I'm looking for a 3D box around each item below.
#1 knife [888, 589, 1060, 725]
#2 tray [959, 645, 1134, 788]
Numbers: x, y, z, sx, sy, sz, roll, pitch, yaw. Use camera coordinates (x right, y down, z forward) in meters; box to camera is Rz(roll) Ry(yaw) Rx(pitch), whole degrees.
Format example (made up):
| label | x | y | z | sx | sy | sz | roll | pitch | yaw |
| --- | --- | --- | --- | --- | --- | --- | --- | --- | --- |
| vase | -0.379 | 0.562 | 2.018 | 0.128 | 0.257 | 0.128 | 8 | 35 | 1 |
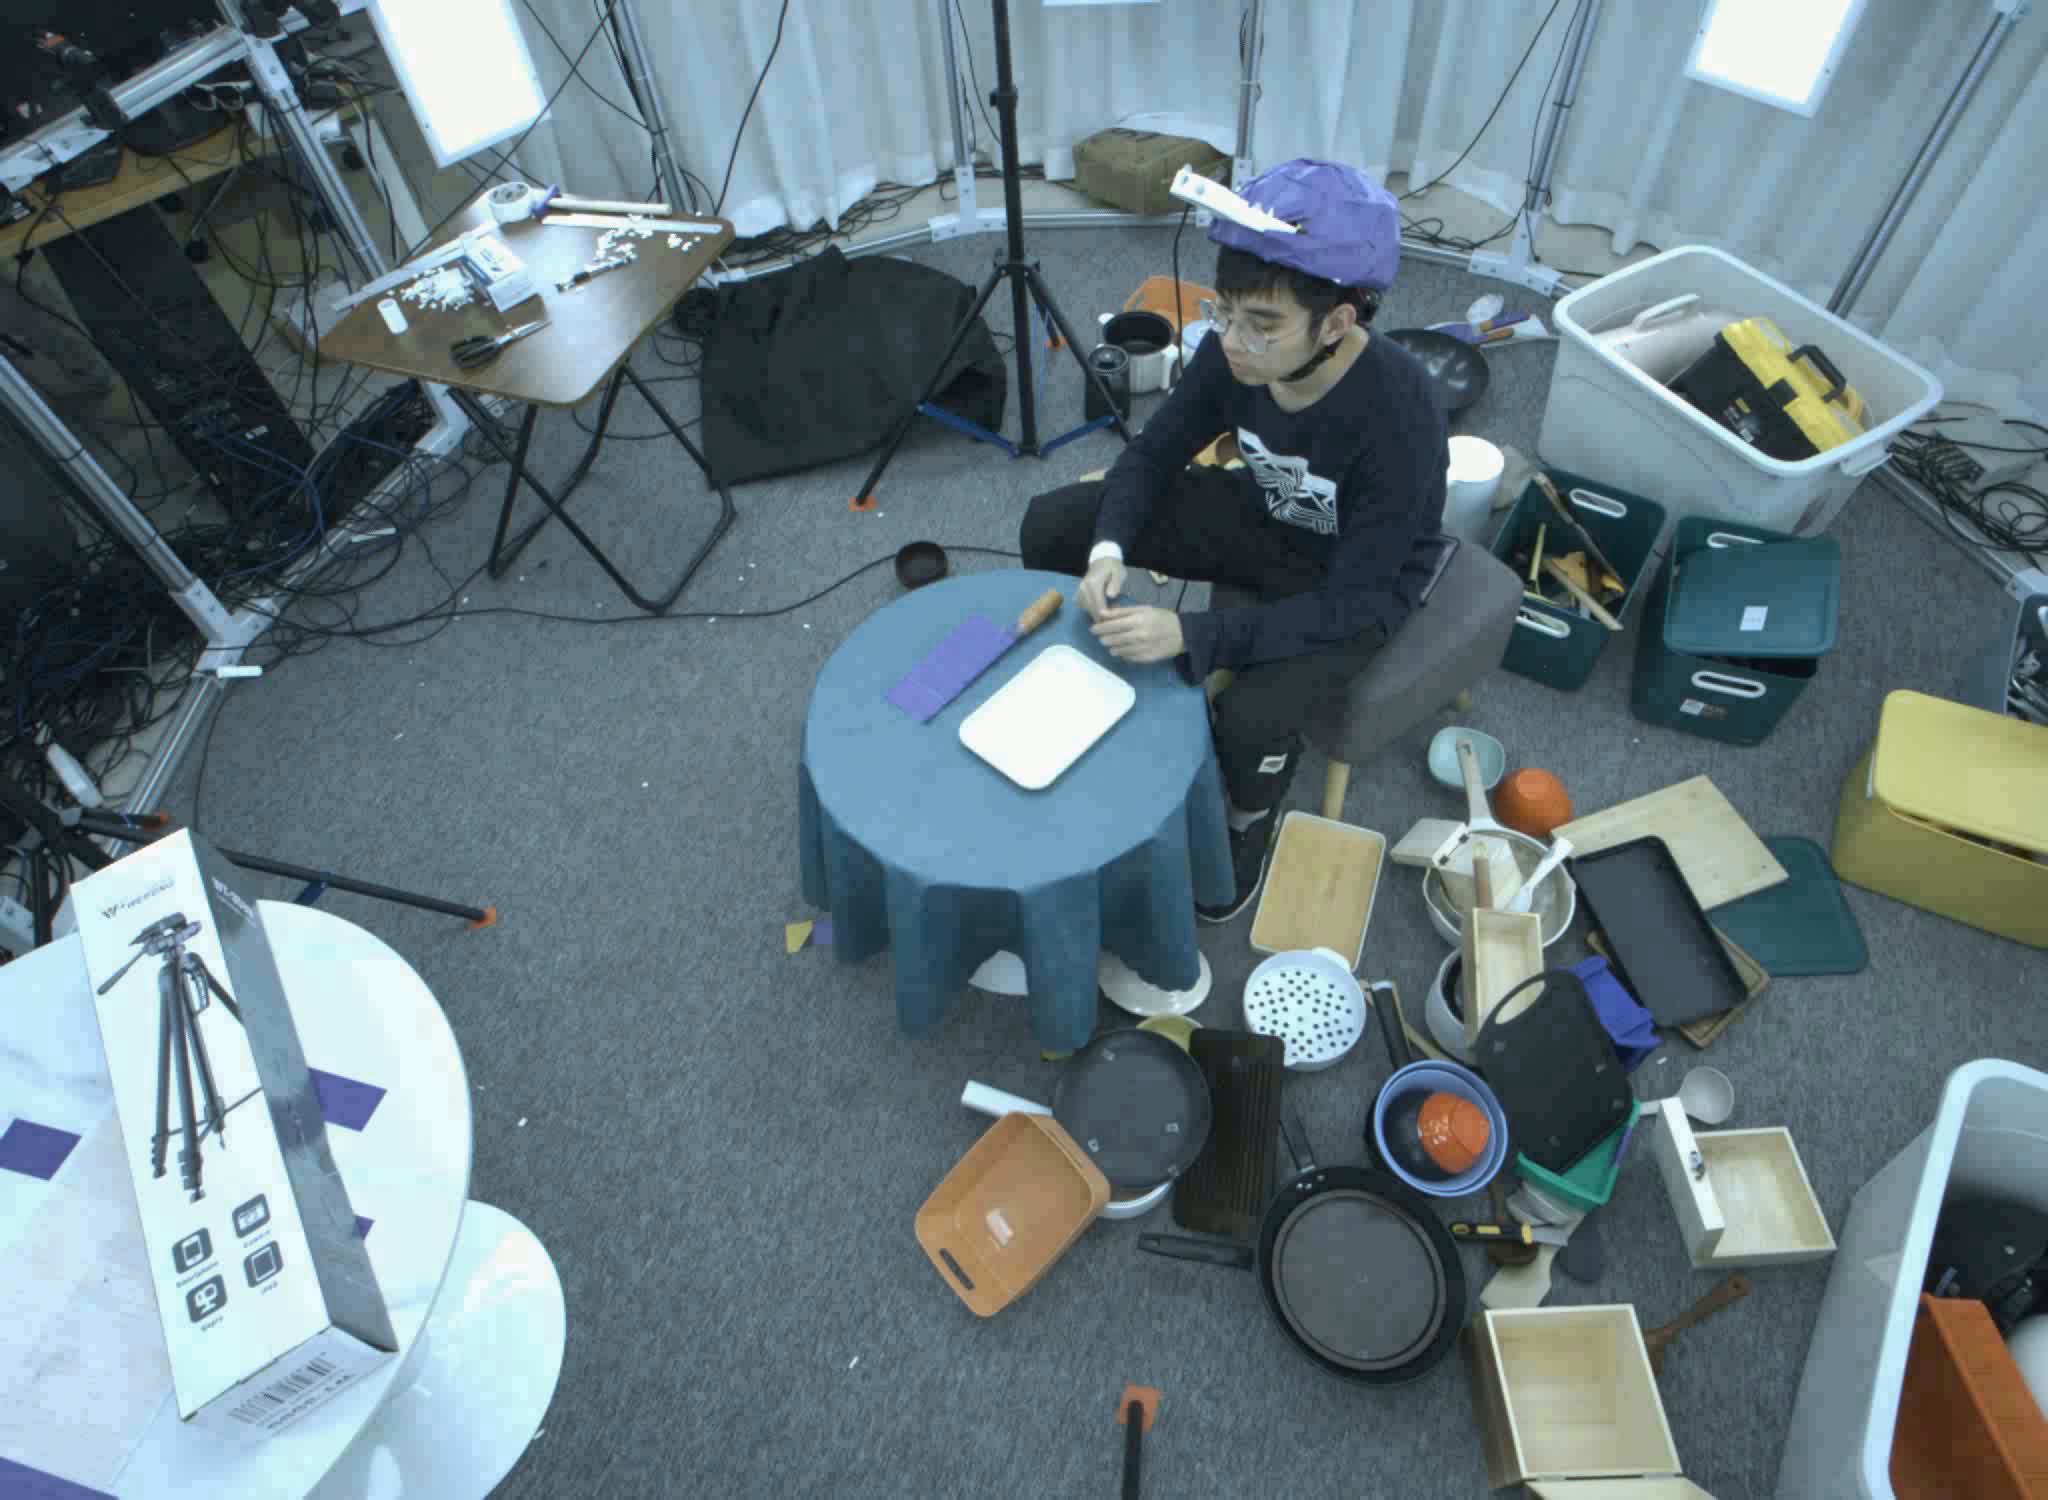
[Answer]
| label | x | y | z | sx | sy | sz | roll | pitch | yaw |
| --- | --- | --- | --- | --- | --- | --- | --- | --- | --- |
| knife | -0.078 | -0.162 | 1.896 | 0.102 | 0.032 | 0.317 | 35 | 63 | 23 |
| tray | 0.034 | -0.051 | 1.819 | 0.168 | 0.017 | 0.241 | 36 | 62 | 24 |
